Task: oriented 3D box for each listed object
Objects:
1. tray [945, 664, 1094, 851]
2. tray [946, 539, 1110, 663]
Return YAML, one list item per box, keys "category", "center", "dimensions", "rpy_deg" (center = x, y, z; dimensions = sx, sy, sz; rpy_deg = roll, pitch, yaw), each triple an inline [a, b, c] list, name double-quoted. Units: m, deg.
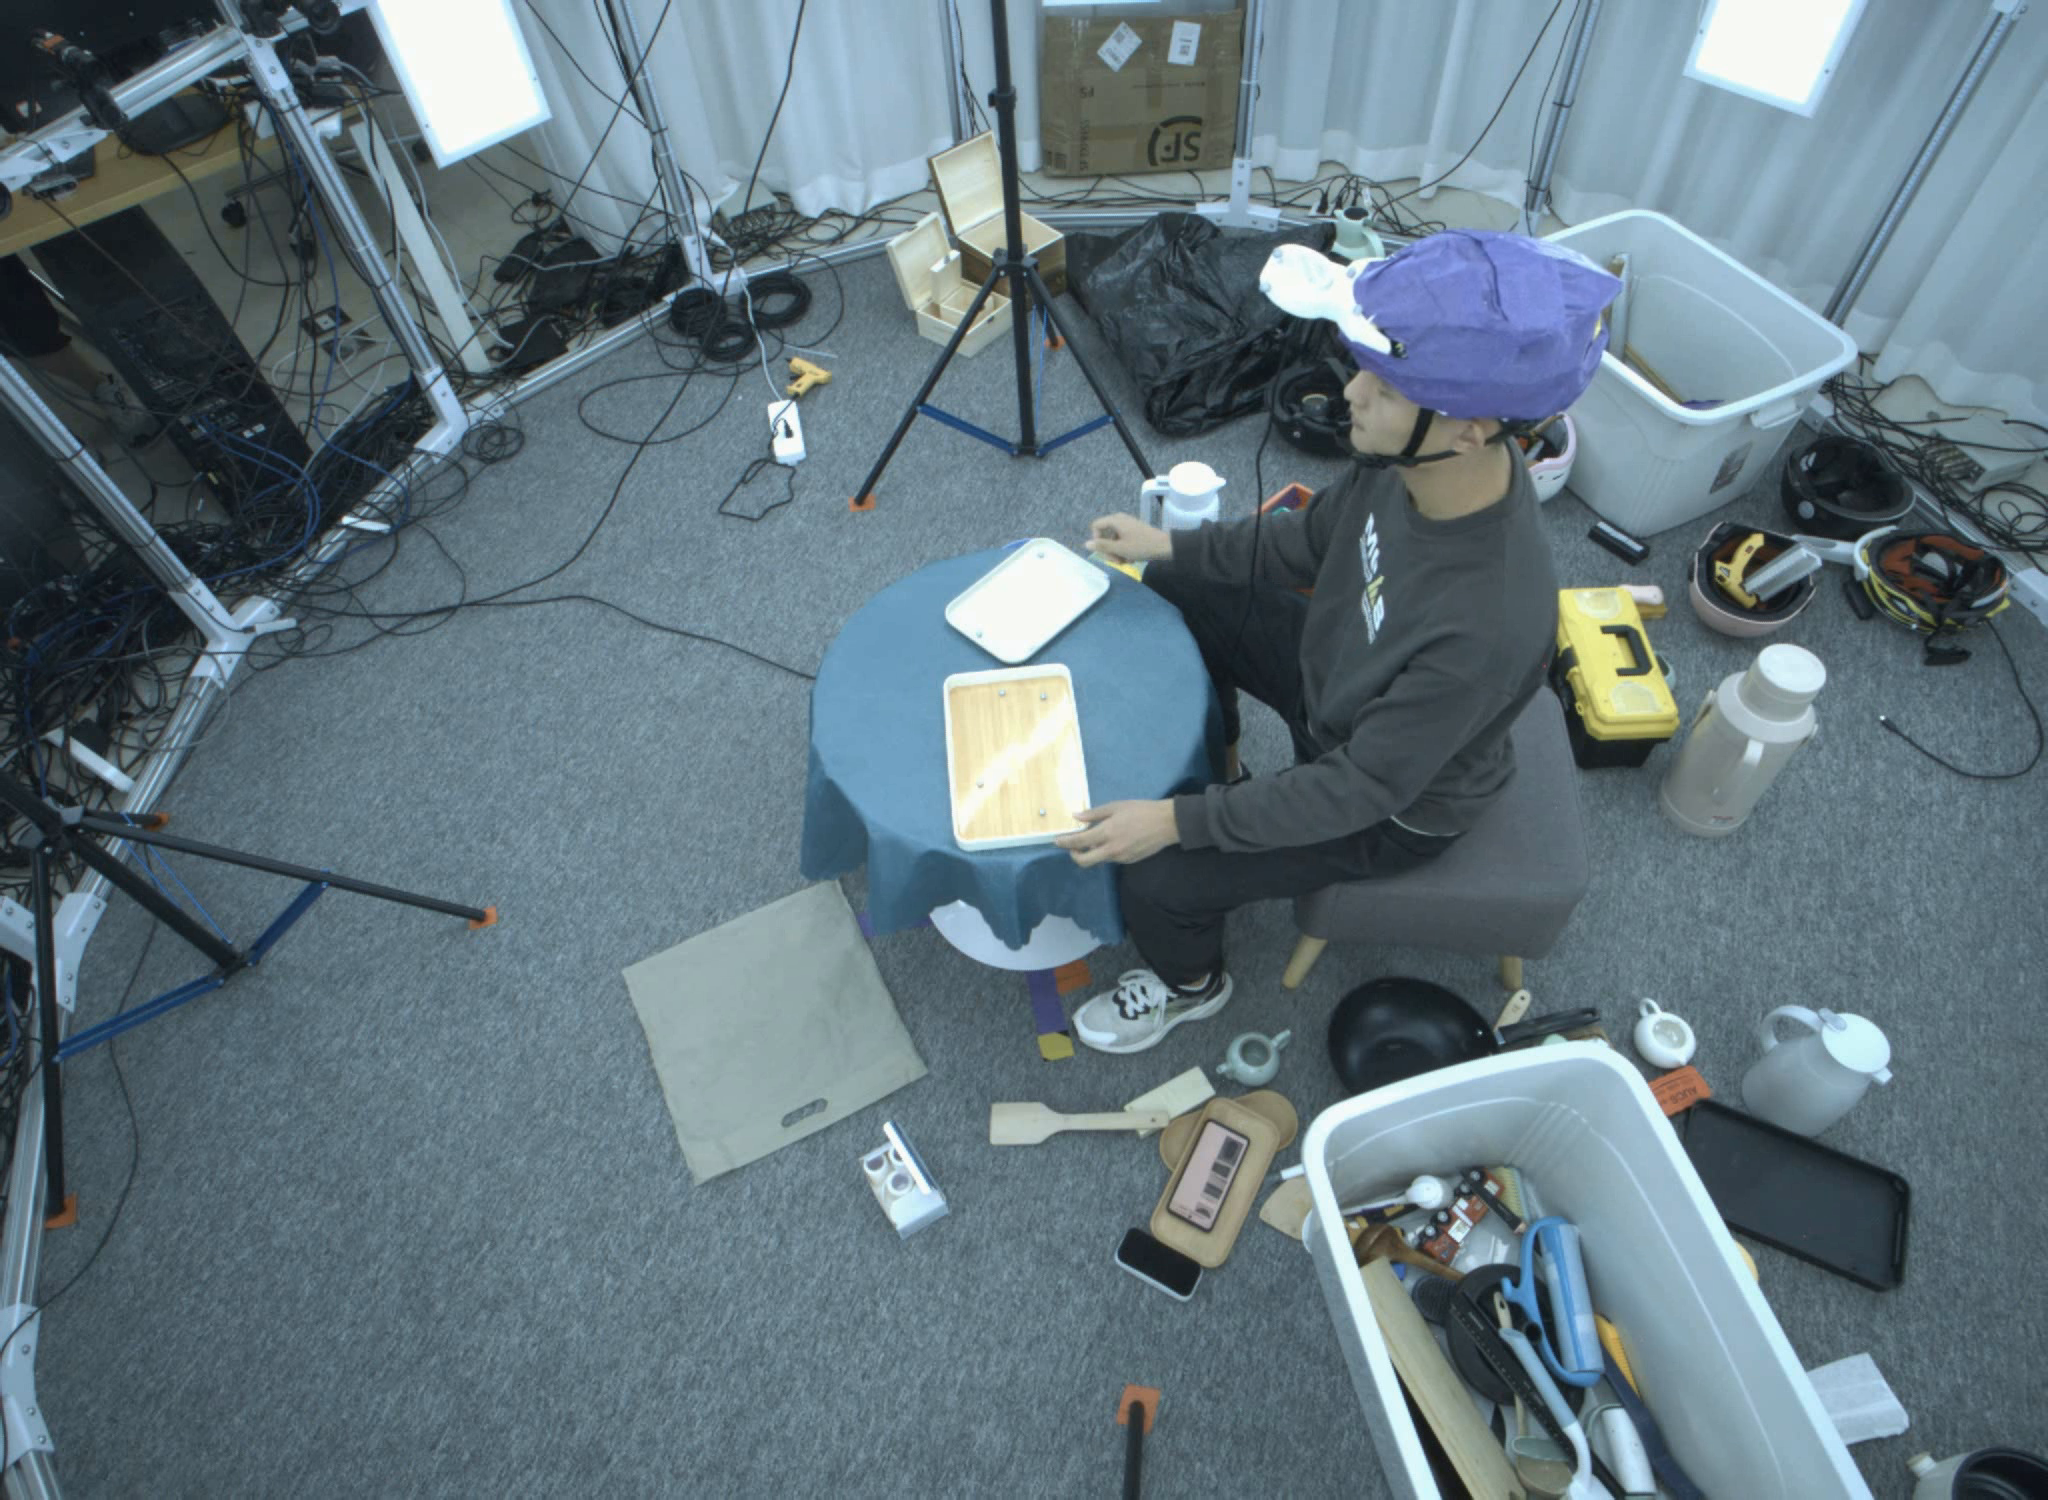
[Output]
- category: "tray"
  center: [-0.010, 0.005, 1.766]
  dimensions: [0.192, 0.028, 0.296]
  rpy_deg: [-5, 55, -3]
- category: "tray"
  center: [0.007, -0.237, 1.943]
  dimensions: [0.168, 0.017, 0.241]
  rpy_deg: [36, 63, 25]
